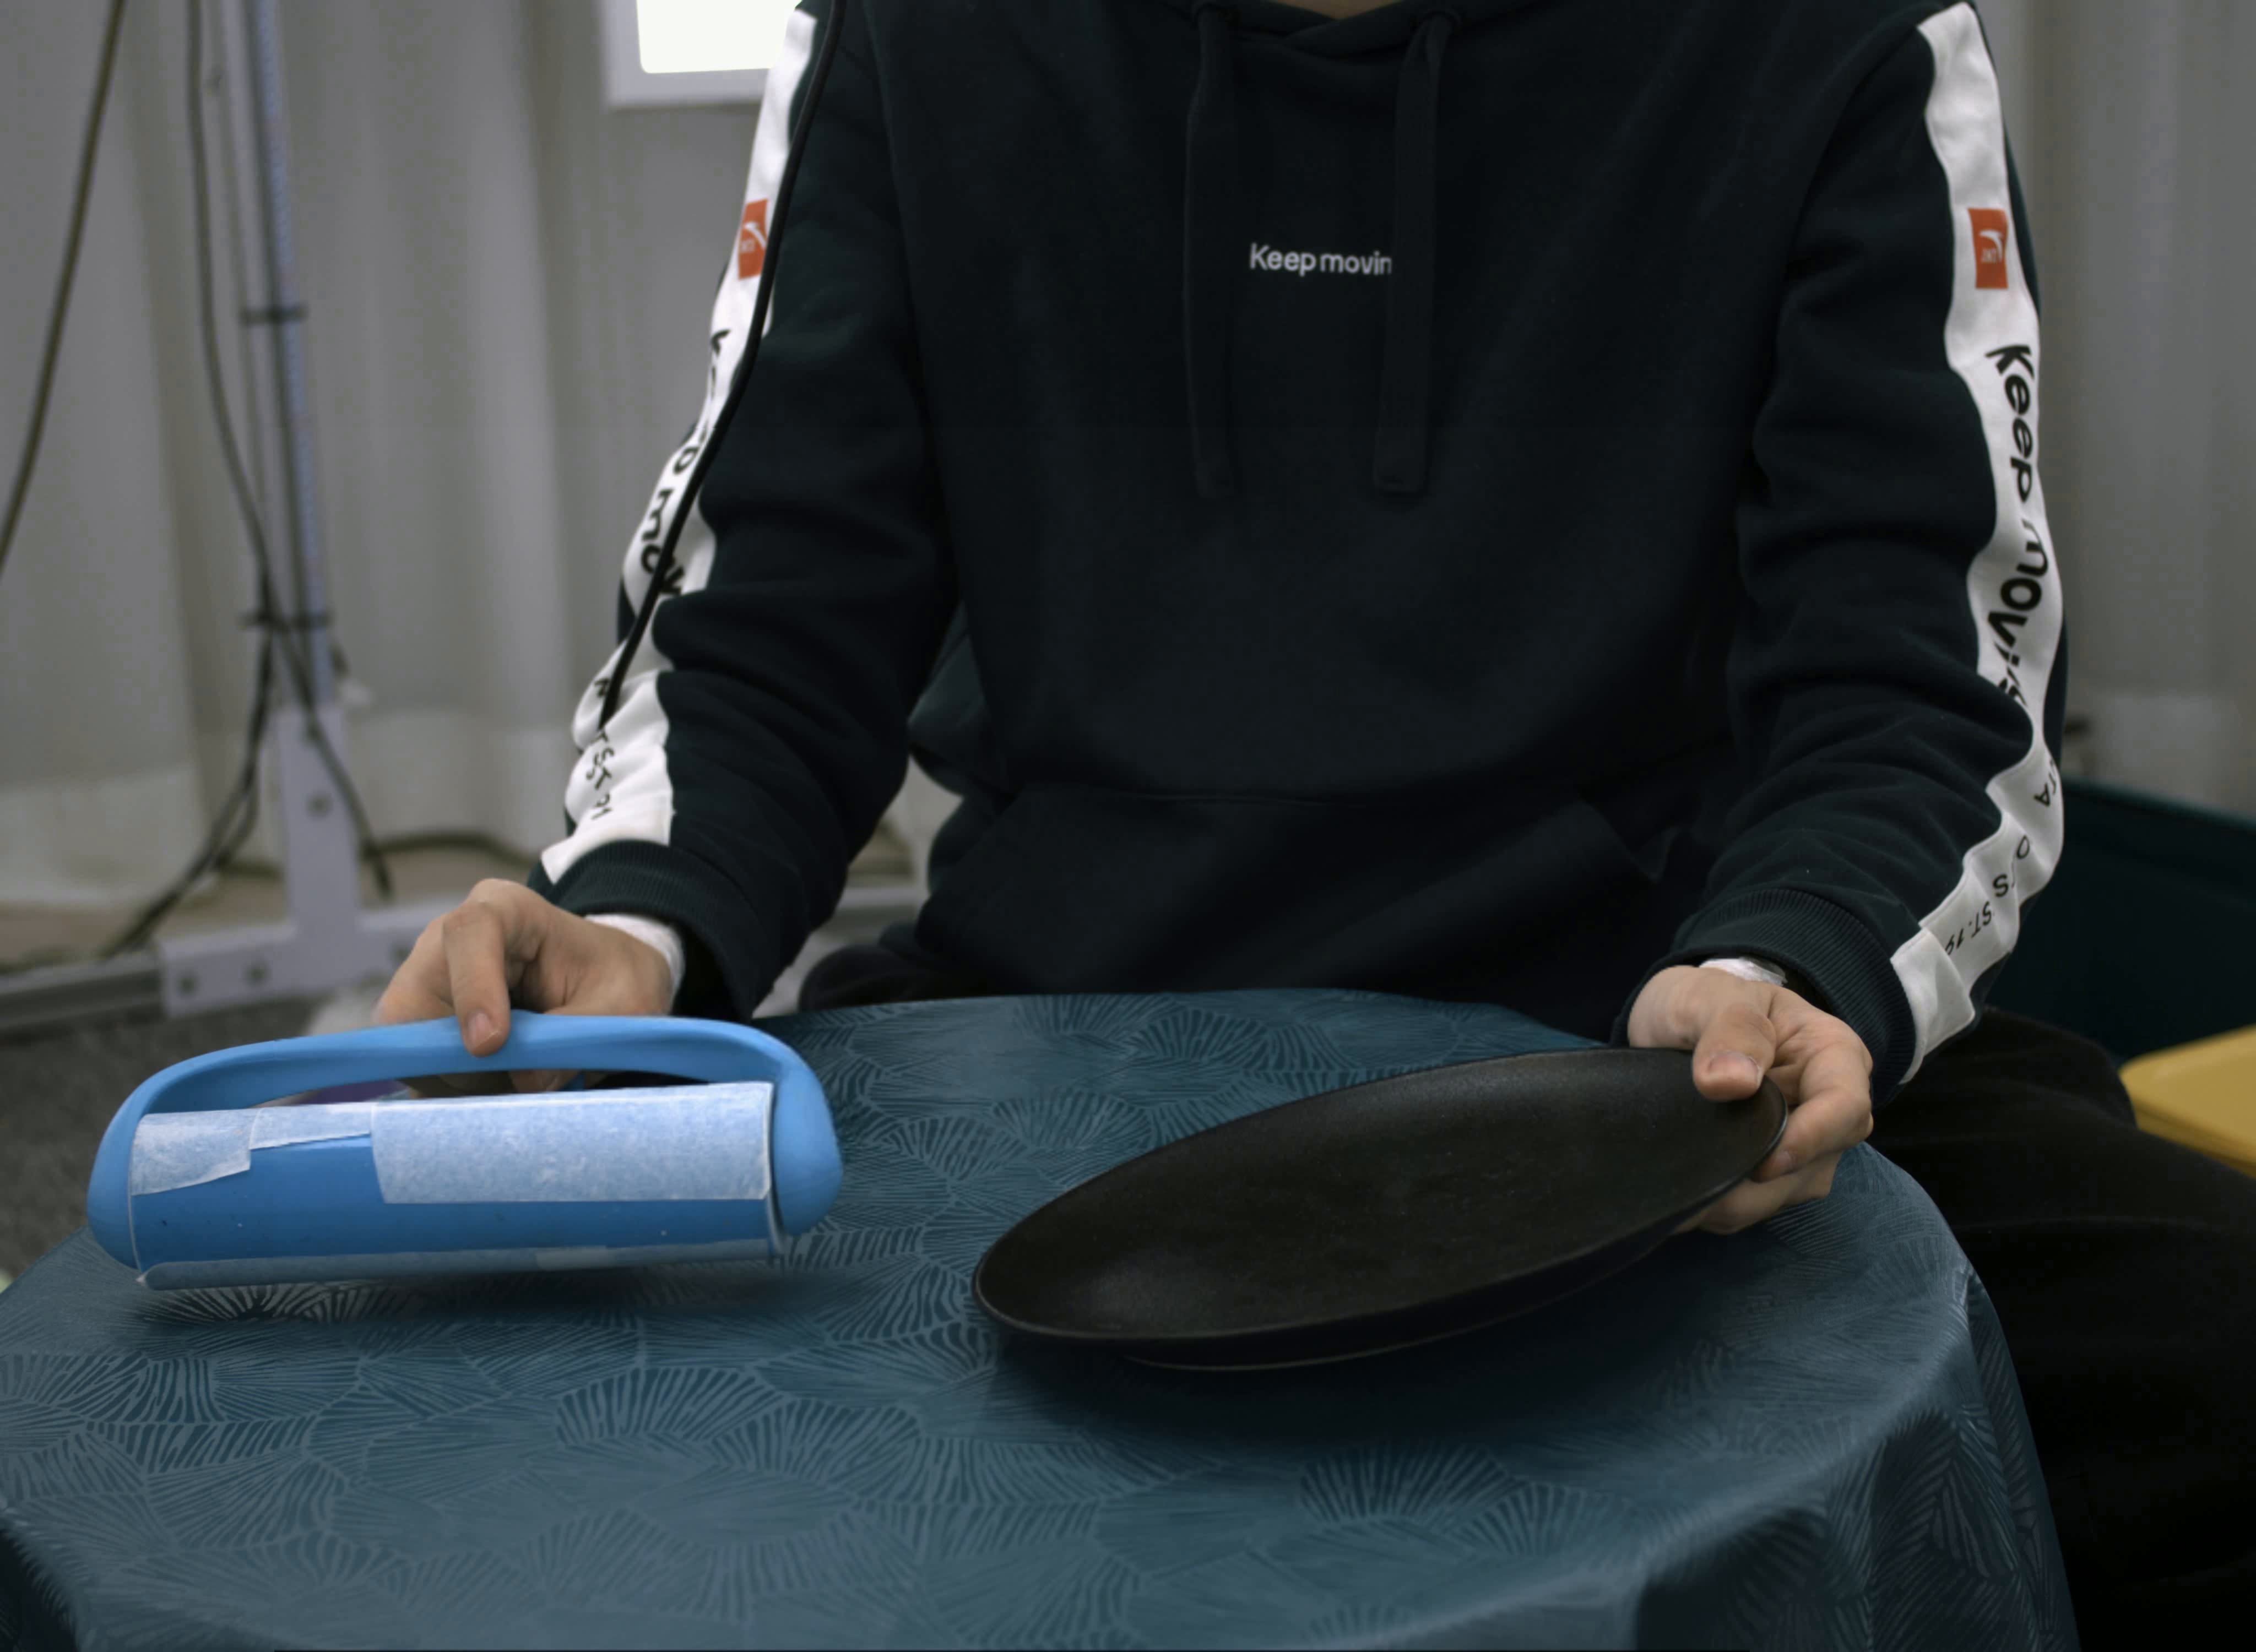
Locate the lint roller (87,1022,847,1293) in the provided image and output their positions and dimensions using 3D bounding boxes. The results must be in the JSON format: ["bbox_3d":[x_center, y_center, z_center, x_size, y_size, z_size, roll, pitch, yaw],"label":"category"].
[{"bbox_3d":[-0.198,0.091,1.694,0.228,0.067,0.181,-5,15,1],"label":"lint roller"}]

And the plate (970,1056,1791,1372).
[{"bbox_3d":[0.075,0.115,1.587,0.243,0.023,0.245,-13,11,2],"label":"plate"}]
